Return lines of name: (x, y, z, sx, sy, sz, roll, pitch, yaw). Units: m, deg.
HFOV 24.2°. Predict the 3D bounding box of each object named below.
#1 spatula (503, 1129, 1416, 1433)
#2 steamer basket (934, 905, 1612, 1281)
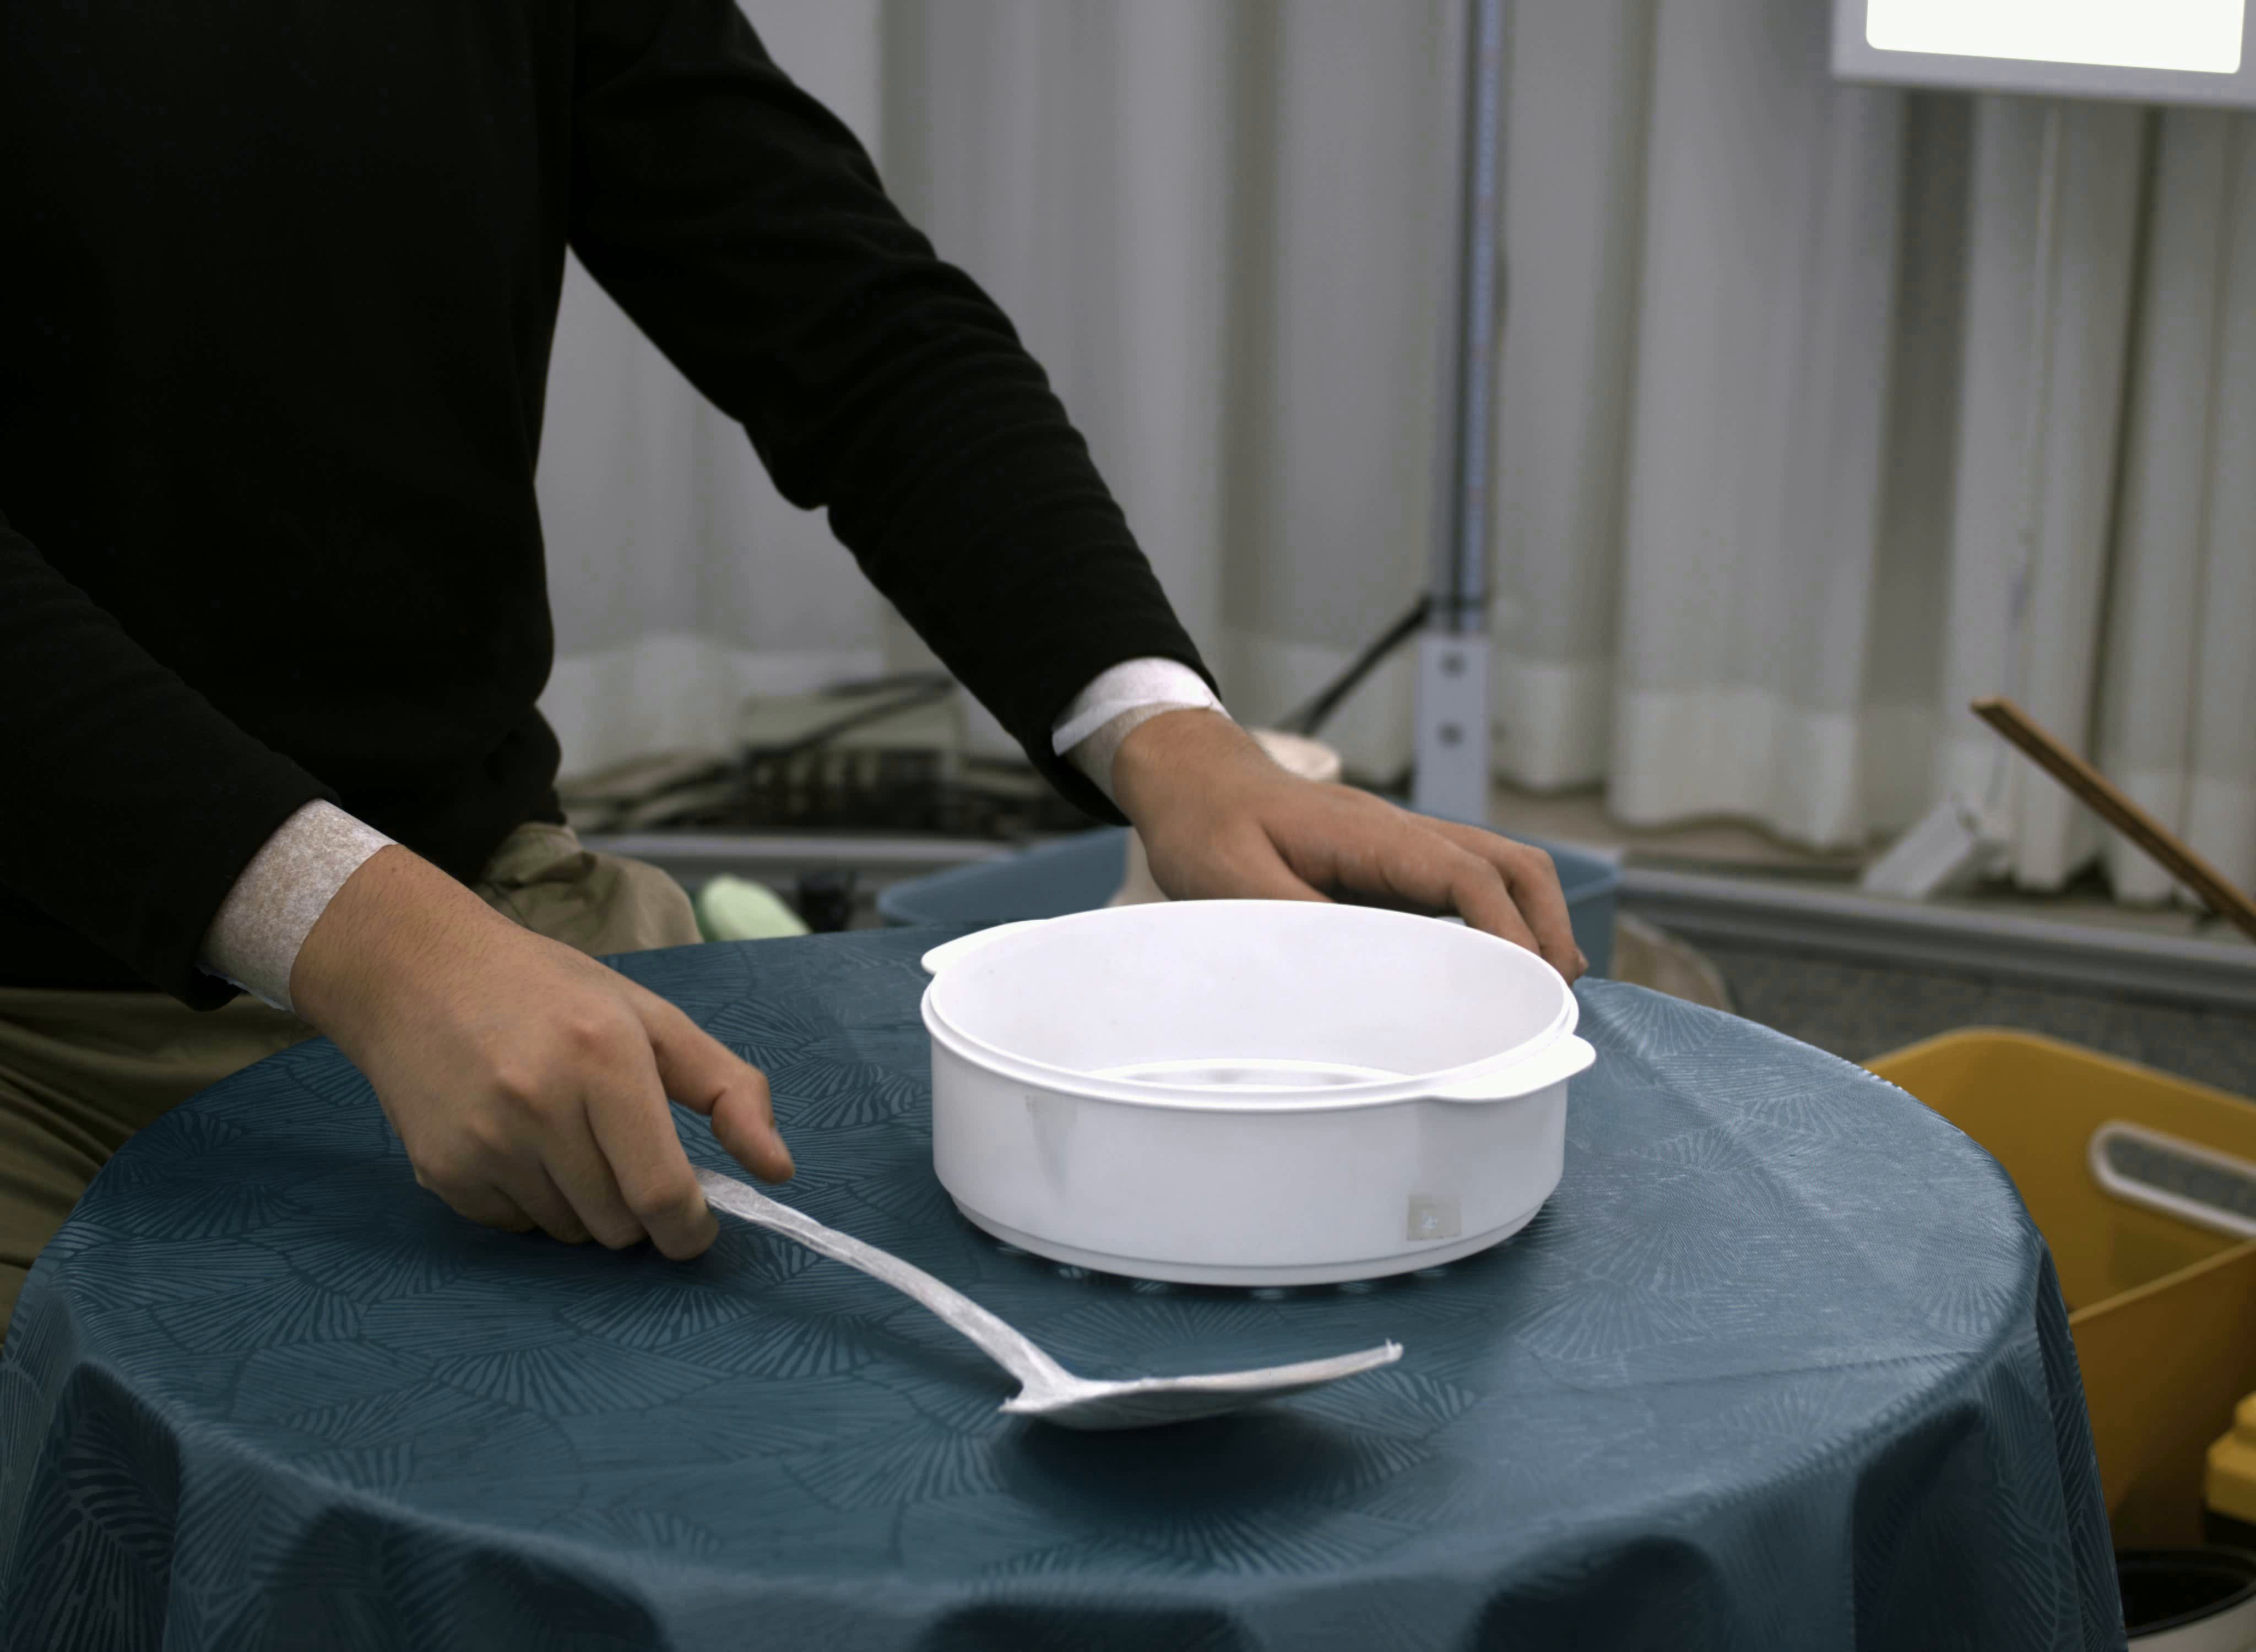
spatula: (-0.072, 0.120, 1.502, 0.099, 0.045, 0.360, -6, 18, -43)
steamer basket: (0.041, 0.081, 1.604, 0.227, 0.070, 0.203, 12, 18, 37)
